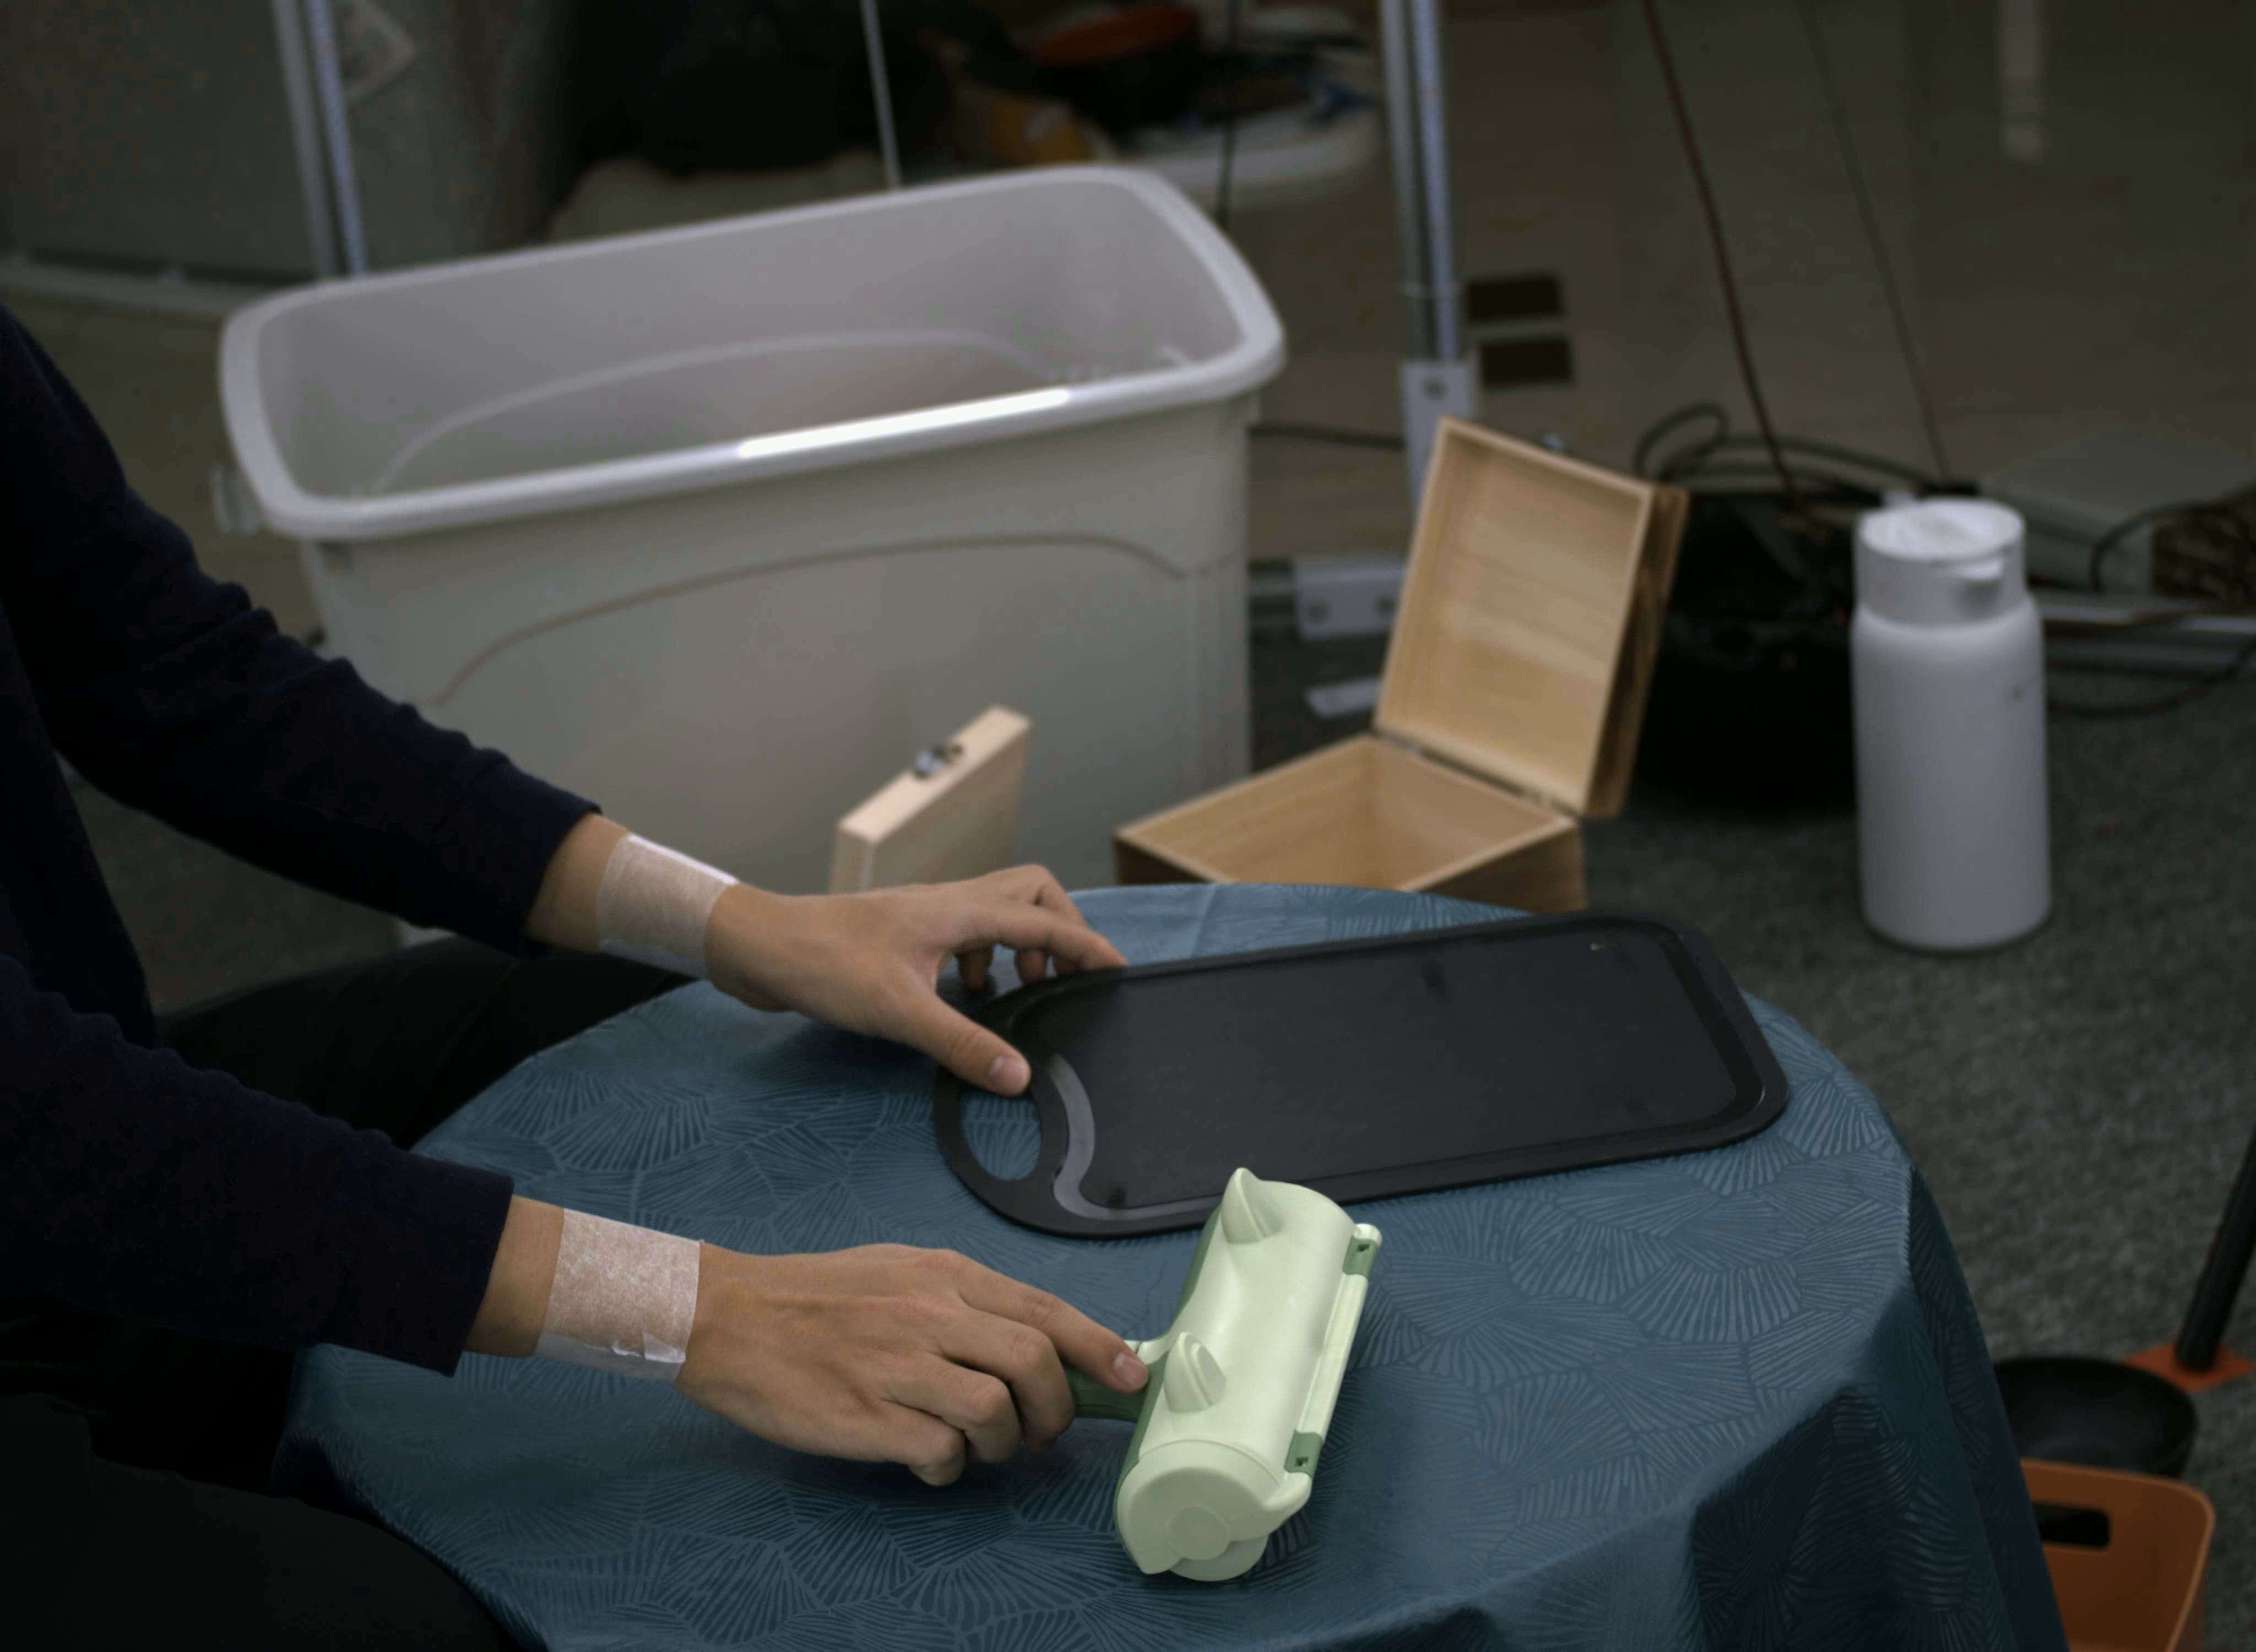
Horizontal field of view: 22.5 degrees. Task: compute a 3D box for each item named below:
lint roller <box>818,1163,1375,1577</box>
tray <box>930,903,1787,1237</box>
[{"bbox_3d":[-0.016,0.174,1.966,0.183,0.083,0.196,9,26,7],"label":"lint roller"},{"bbox_3d":[0.084,0.093,2.212,0.325,0.010,0.208,-8,27,-4],"label":"tray"}]
